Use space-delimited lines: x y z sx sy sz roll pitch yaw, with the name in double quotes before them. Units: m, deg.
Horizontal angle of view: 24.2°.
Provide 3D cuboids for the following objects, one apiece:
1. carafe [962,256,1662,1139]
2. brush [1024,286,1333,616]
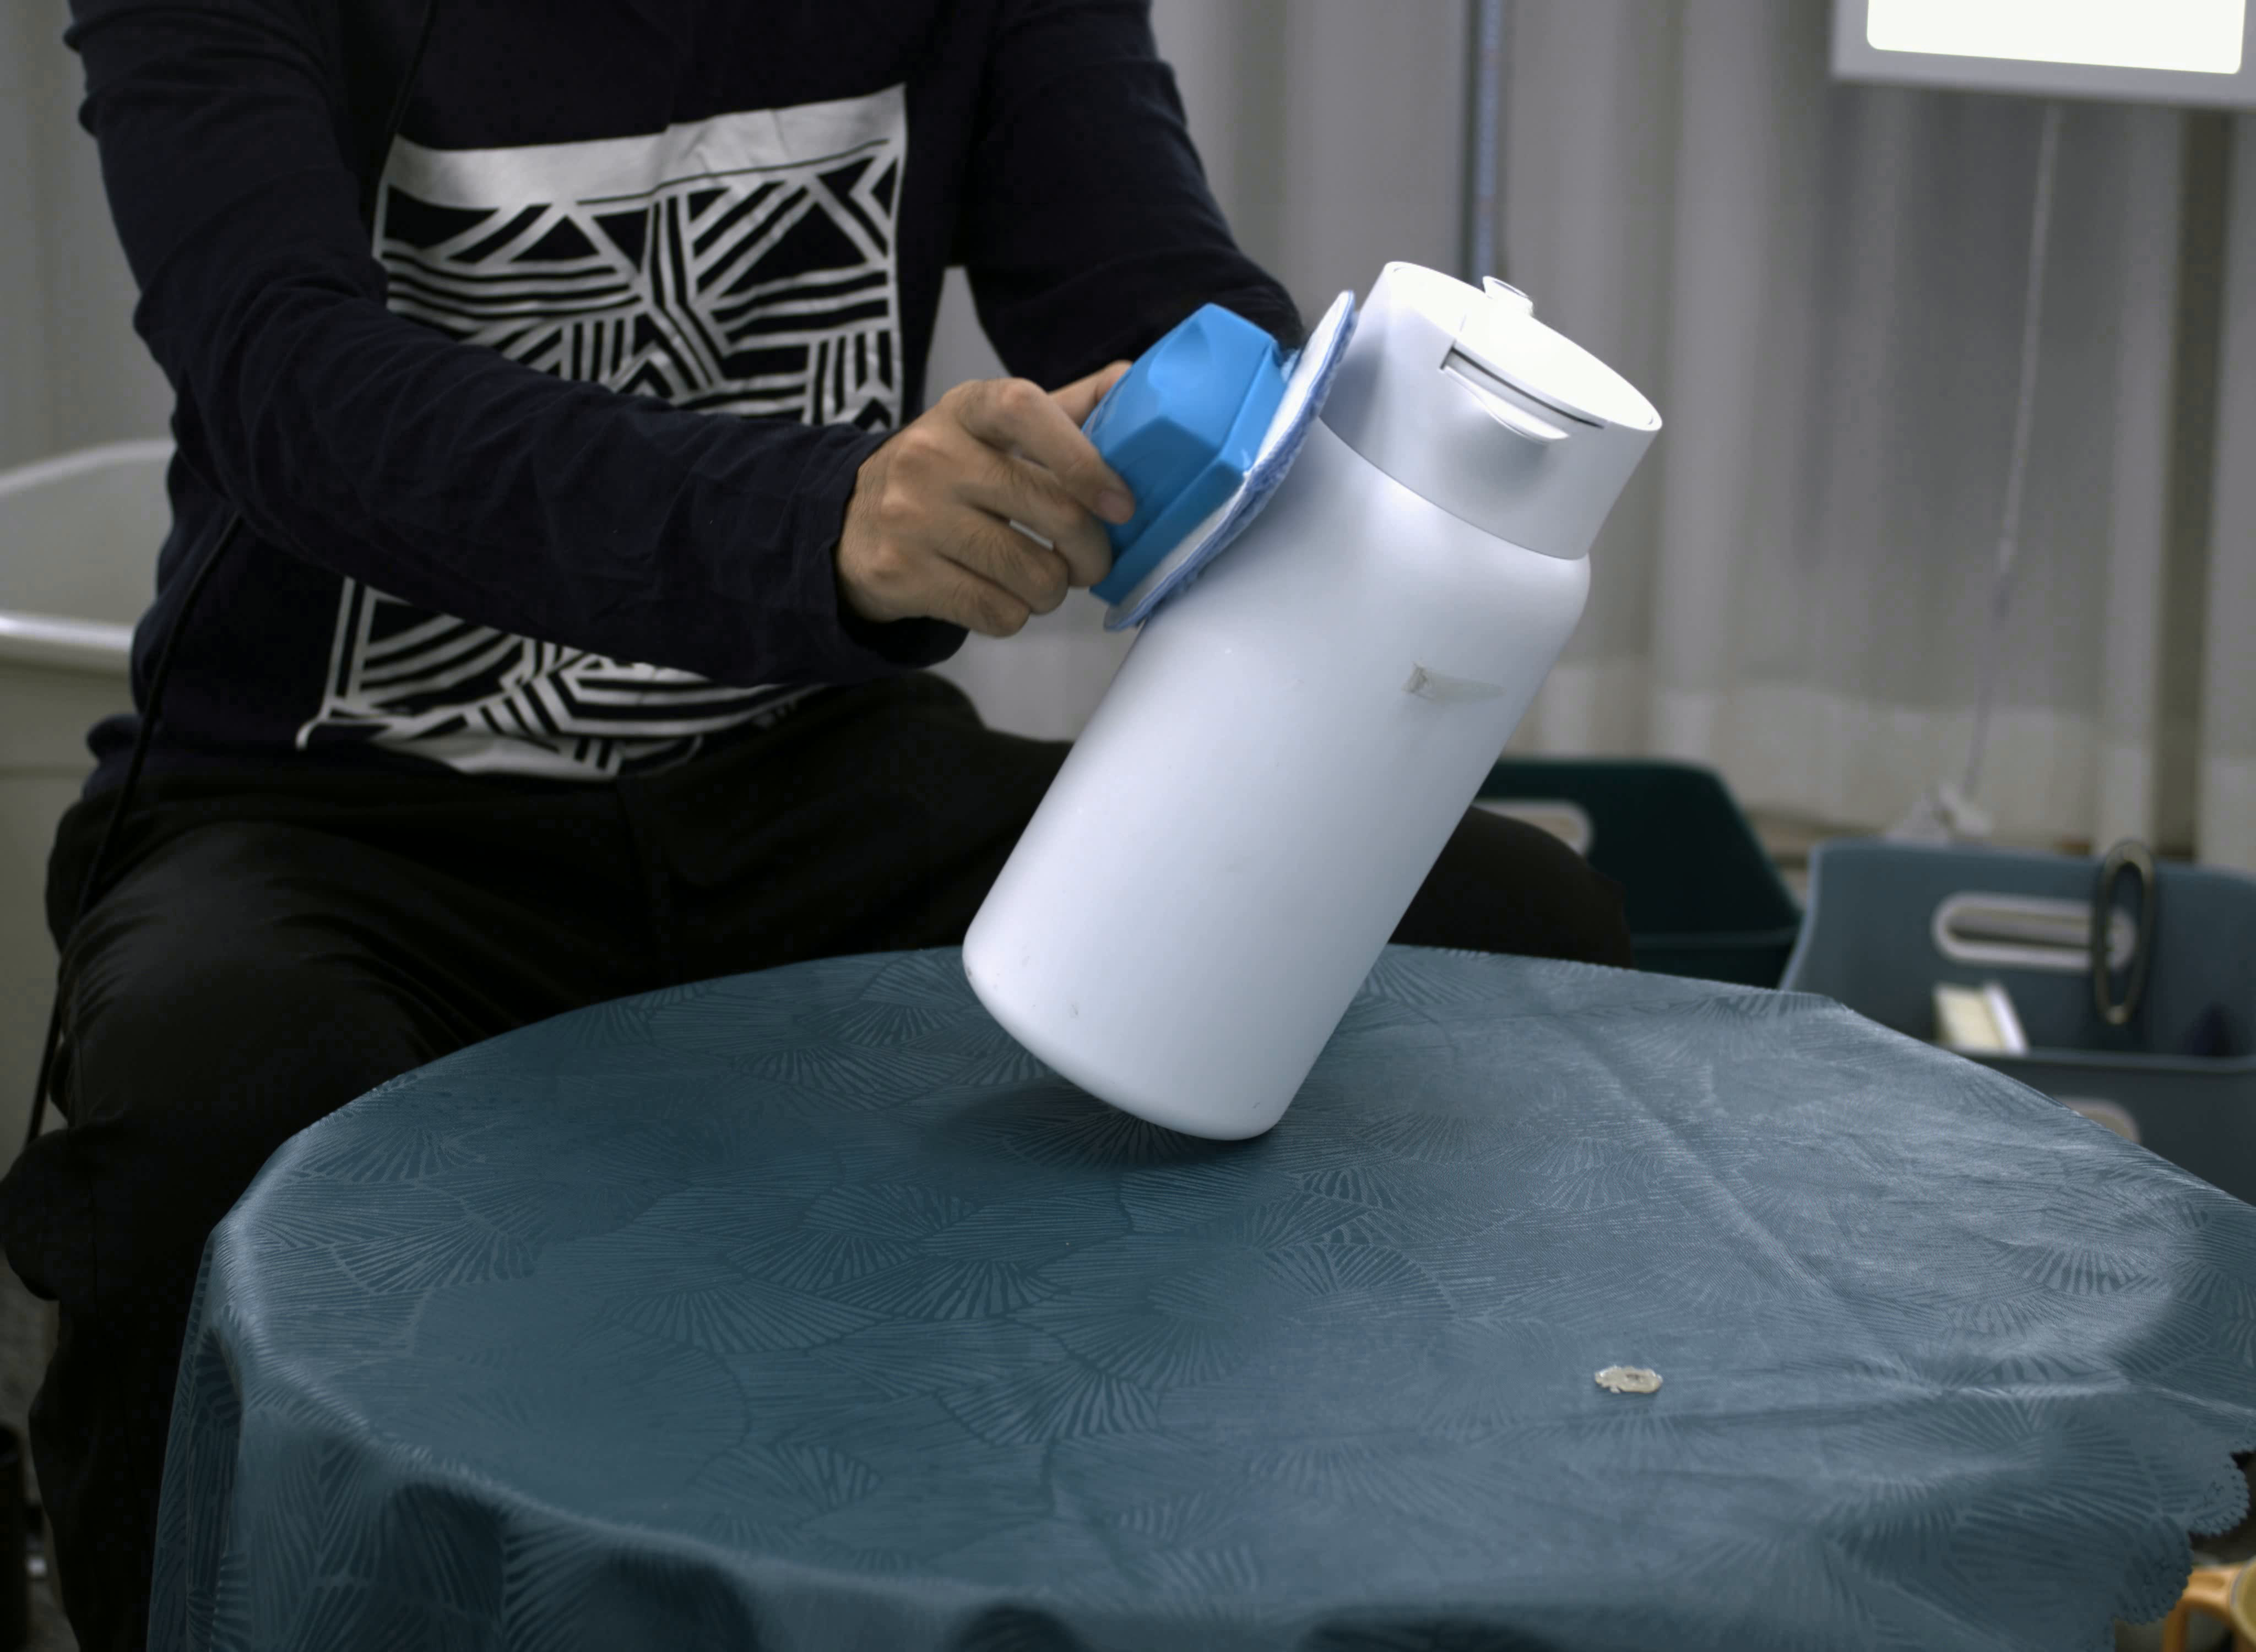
"carafe" 0.056 -0.046 1.664 0.124 0.270 0.171 25 17 -11
"brush" 0.009 -0.120 1.609 0.056 0.084 0.143 32 -23 -11
